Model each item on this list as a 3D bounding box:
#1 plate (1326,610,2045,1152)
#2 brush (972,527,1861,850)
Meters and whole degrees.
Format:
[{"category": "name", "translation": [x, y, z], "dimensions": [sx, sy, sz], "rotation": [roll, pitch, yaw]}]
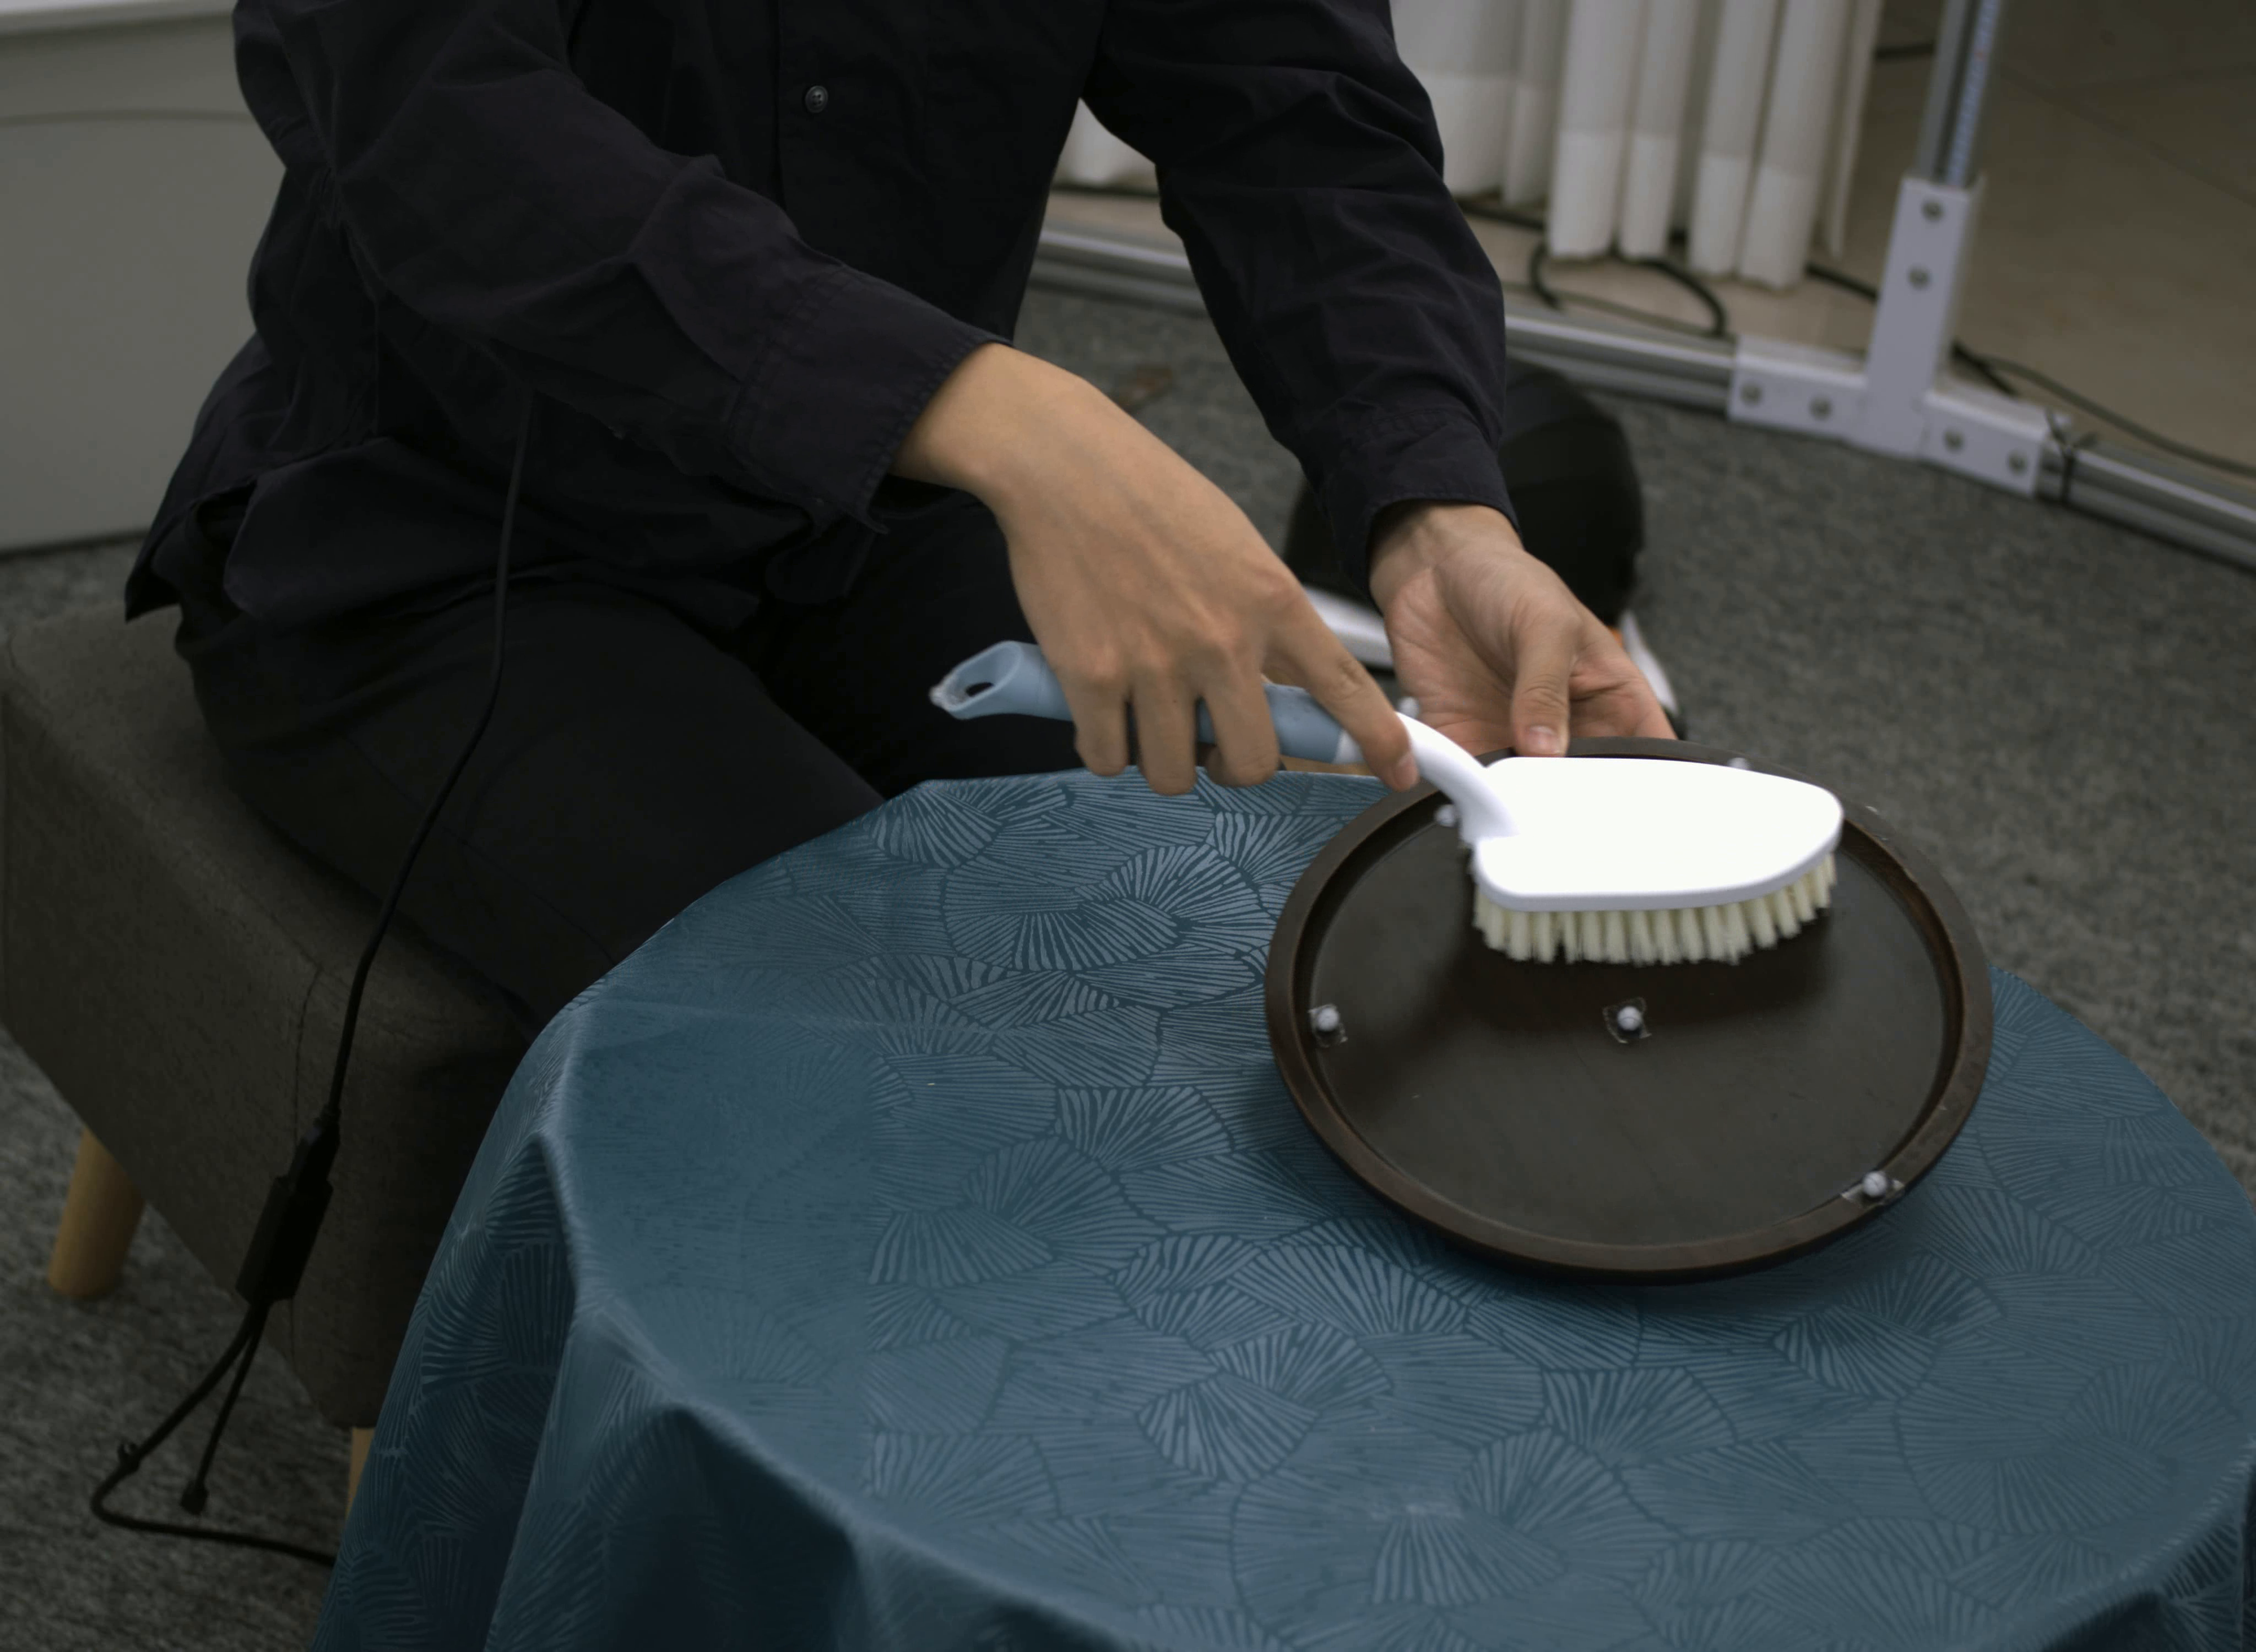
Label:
[{"category": "plate", "translation": [0.196, 0.018, 1.879], "dimensions": [0.254, 0.029, 0.257], "rotation": [-3, 46, 3]}, {"category": "brush", "translation": [0.099, -0.045, 1.888], "dimensions": [0.324, 0.084, 0.083], "rotation": [9, 8, -7]}]
